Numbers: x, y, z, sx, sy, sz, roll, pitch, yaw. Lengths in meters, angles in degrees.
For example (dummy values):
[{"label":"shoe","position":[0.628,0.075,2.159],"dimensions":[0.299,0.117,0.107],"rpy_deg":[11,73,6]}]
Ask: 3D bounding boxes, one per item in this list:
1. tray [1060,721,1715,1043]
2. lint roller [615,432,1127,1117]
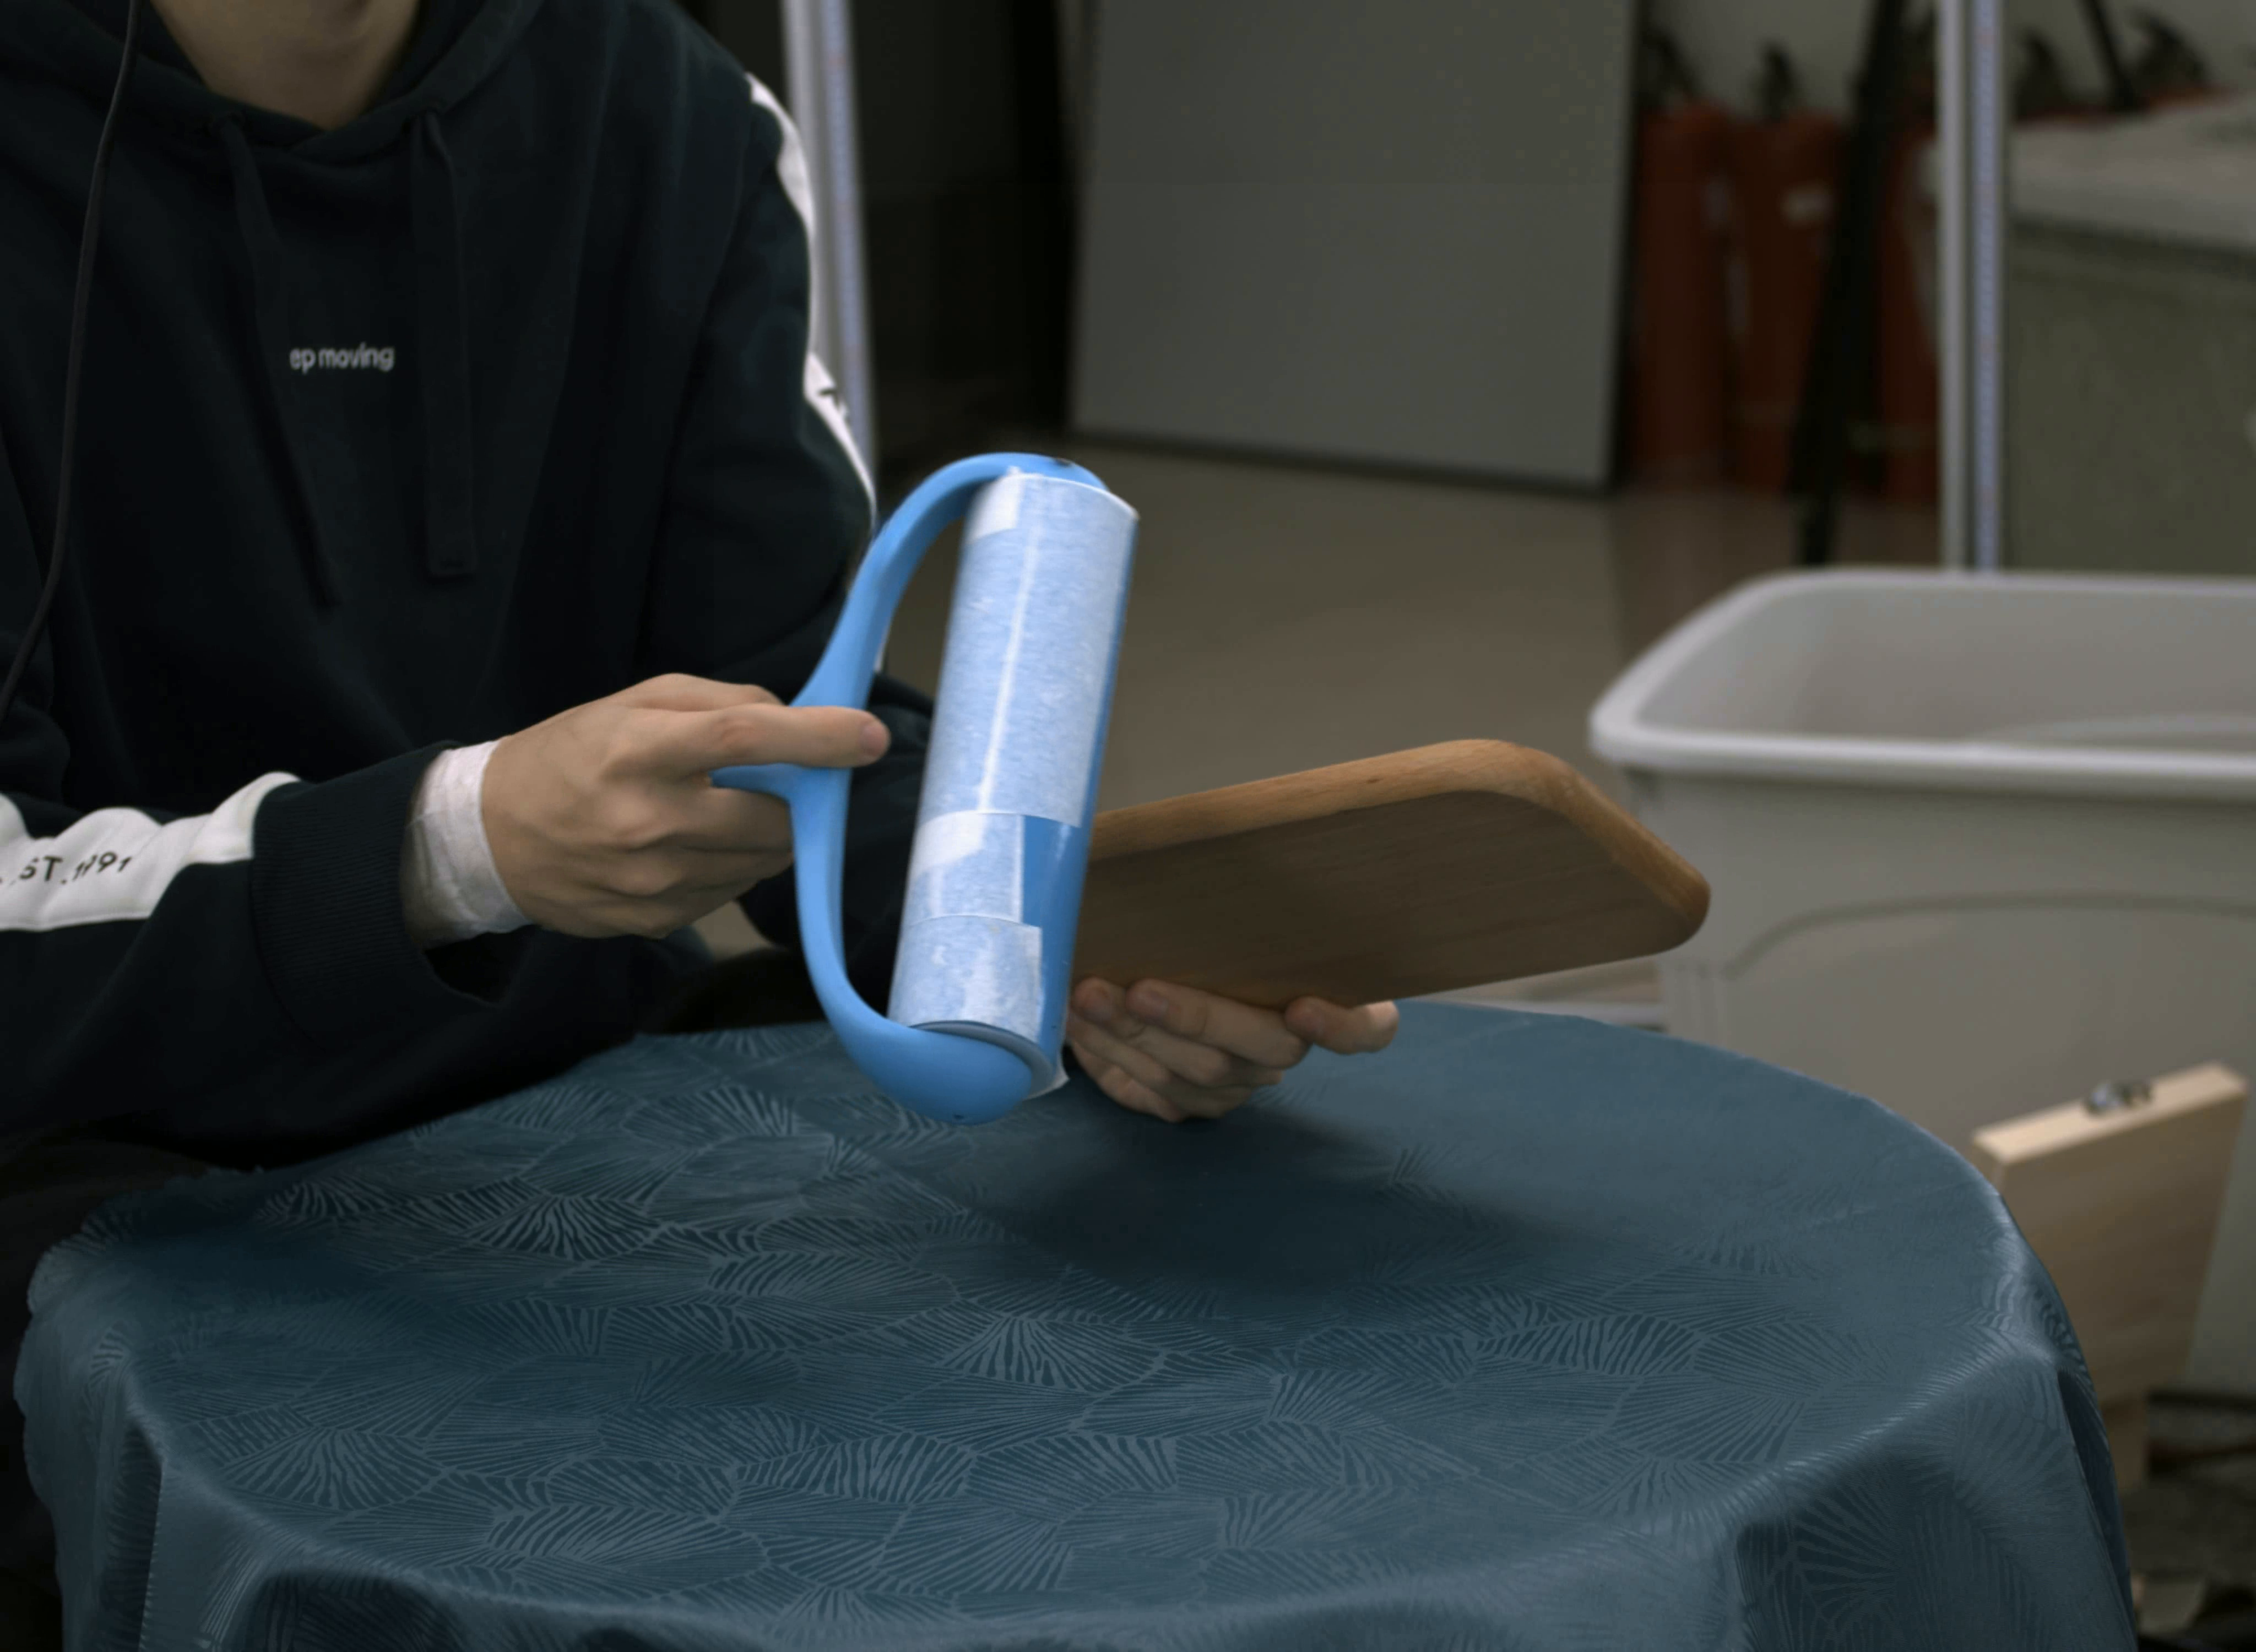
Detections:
[{"label":"tray","position":[0.061,0.022,1.727],"dimensions":[0.252,0.023,0.128],"rpy_deg":[-14,-40,39]},{"label":"lint roller","position":[-0.091,-0.011,1.673],"dimensions":[0.180,0.231,0.067],"rpy_deg":[-8,-30,22]}]
